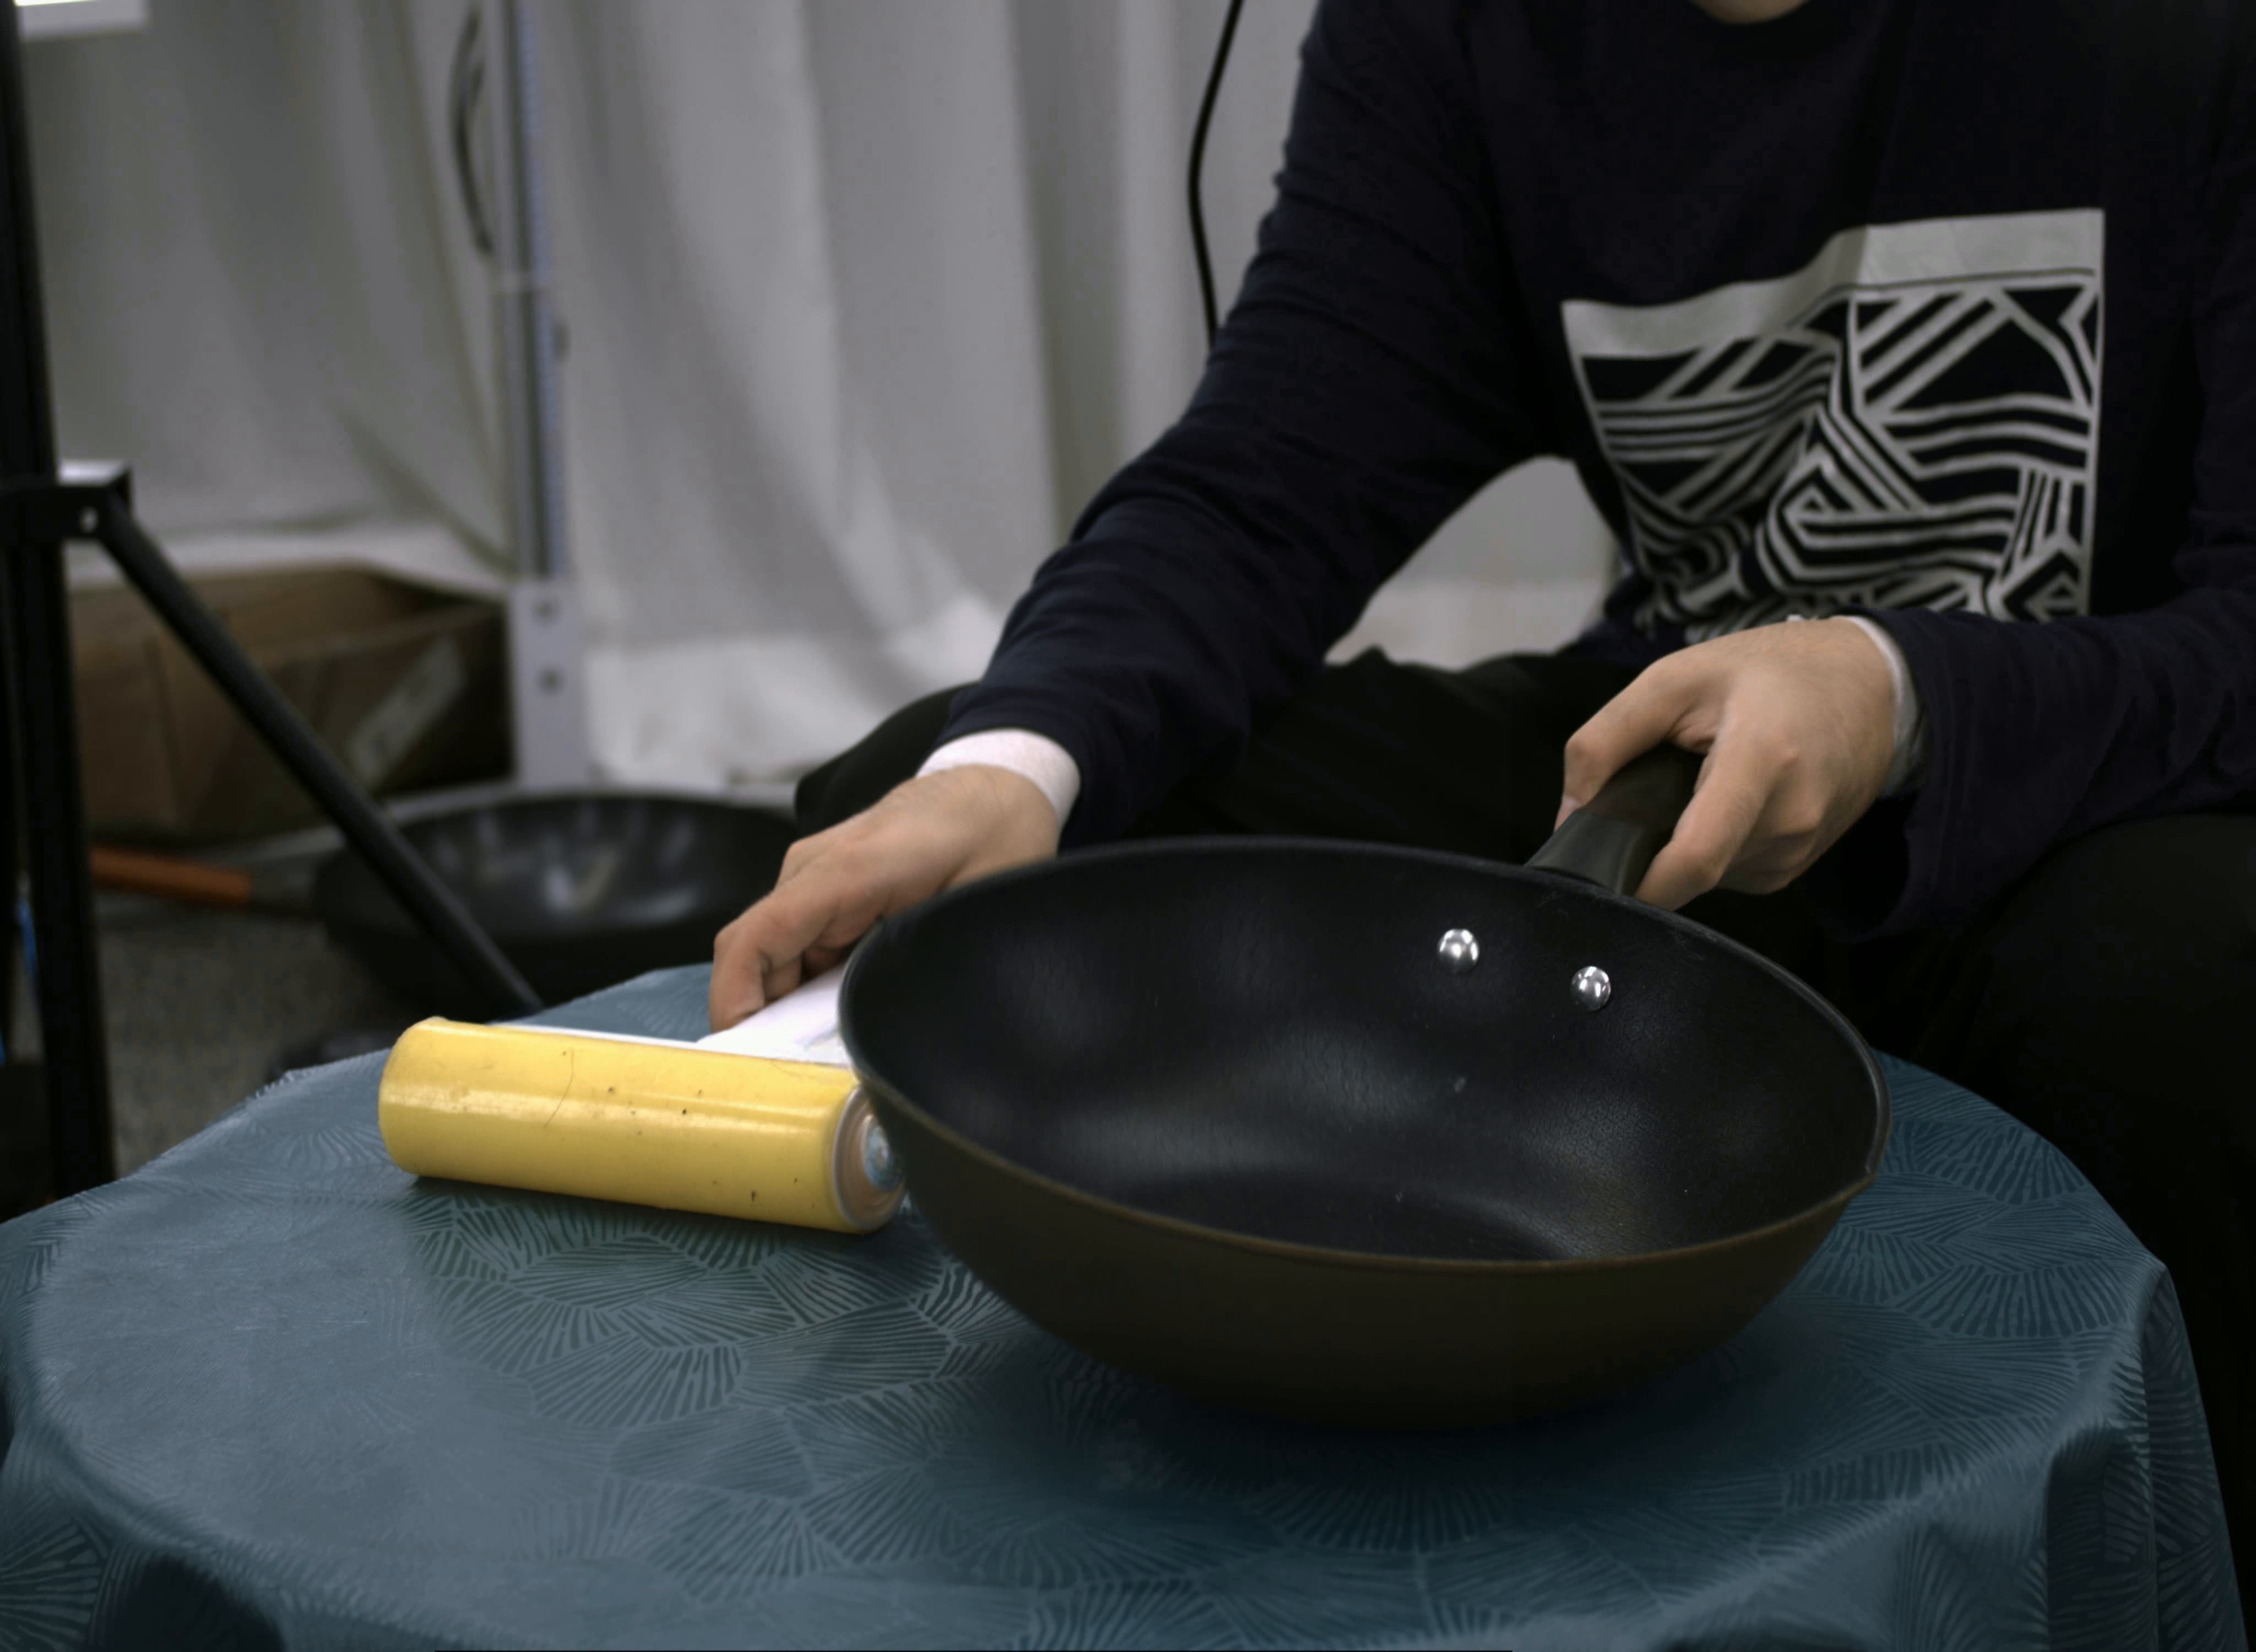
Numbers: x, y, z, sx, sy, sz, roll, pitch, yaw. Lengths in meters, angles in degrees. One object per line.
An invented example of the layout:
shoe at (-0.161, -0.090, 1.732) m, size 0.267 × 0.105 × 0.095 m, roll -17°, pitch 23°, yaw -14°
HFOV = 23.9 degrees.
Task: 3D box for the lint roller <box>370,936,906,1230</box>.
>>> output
lint roller at (-0.110, 0.059, 1.617) m, size 0.177 × 0.051 × 0.189 m, roll 5°, pitch 27°, yaw 31°

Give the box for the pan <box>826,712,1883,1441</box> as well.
pan at (0.095, 0.066, 1.502) m, size 0.292 × 0.087 × 0.457 m, roll 13°, pitch 22°, yaw 22°
